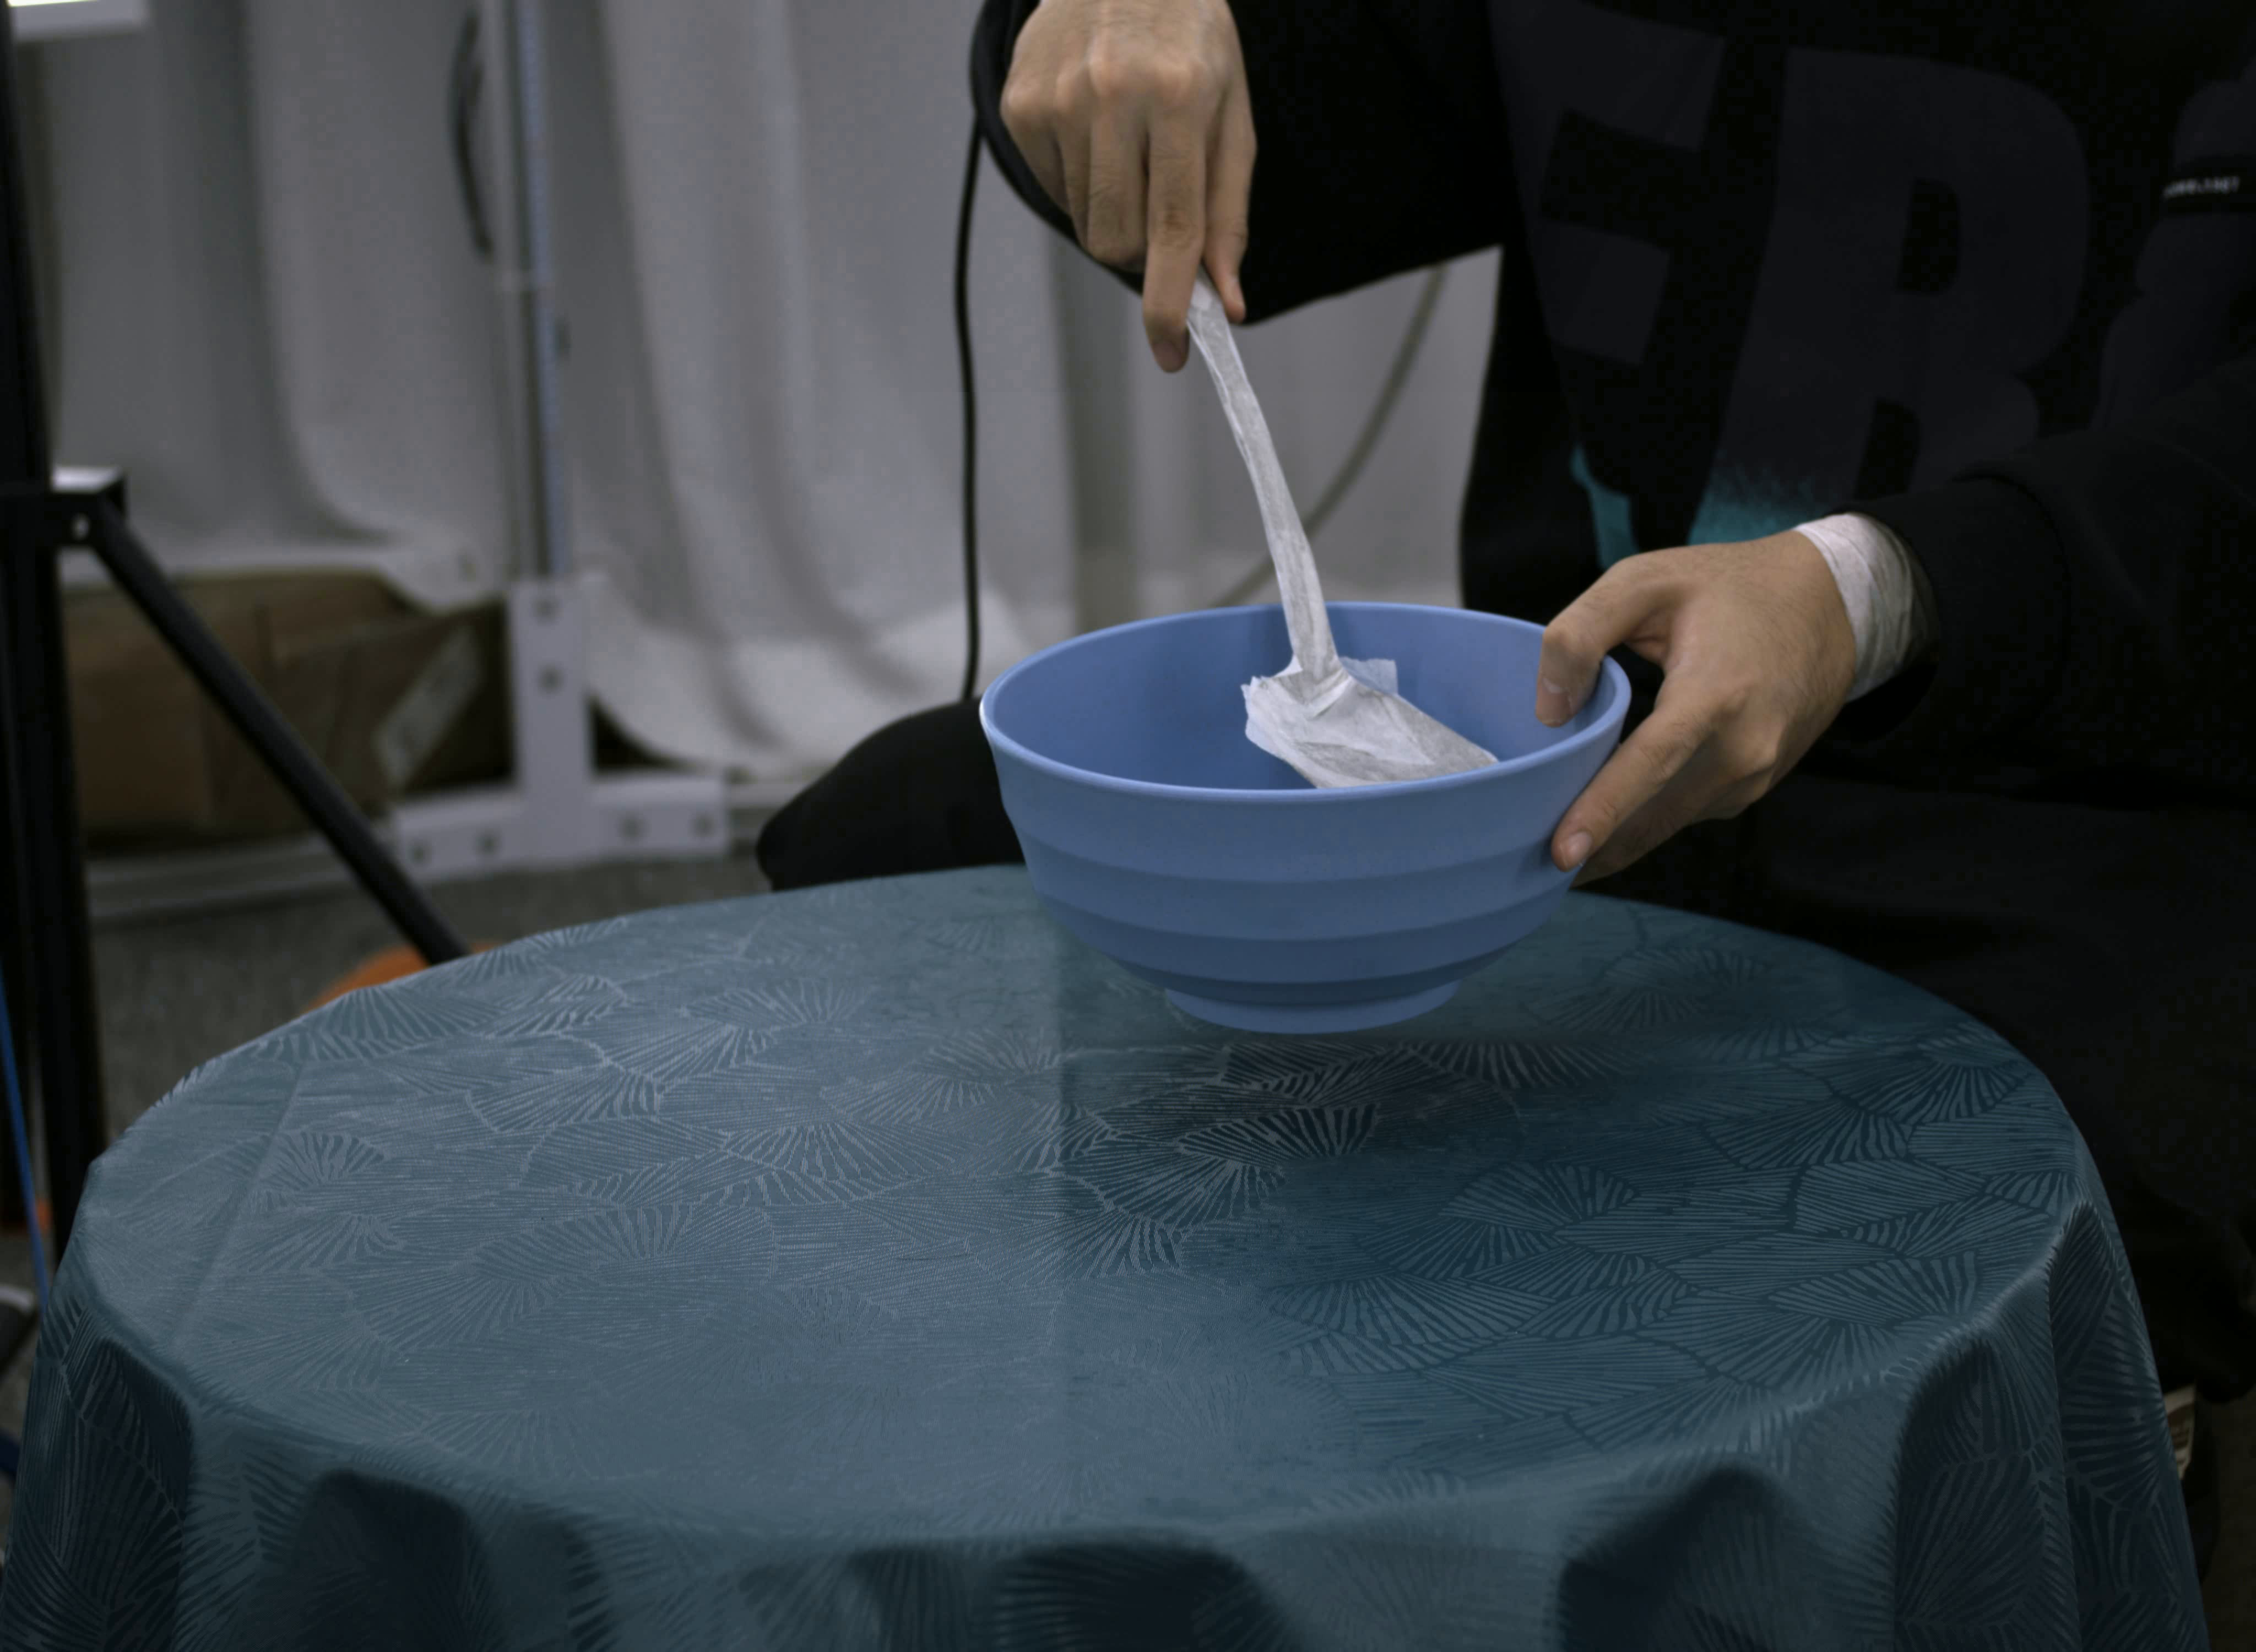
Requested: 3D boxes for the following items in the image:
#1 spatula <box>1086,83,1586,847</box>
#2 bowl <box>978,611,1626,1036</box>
[{"bbox_3d":[0.046,-0.123,1.699,0.096,0.045,0.371,6,48,-32],"label":"spatula"},{"bbox_3d":[0.055,0.004,1.616,0.195,0.095,0.197,-4,17,0],"label":"bowl"}]
